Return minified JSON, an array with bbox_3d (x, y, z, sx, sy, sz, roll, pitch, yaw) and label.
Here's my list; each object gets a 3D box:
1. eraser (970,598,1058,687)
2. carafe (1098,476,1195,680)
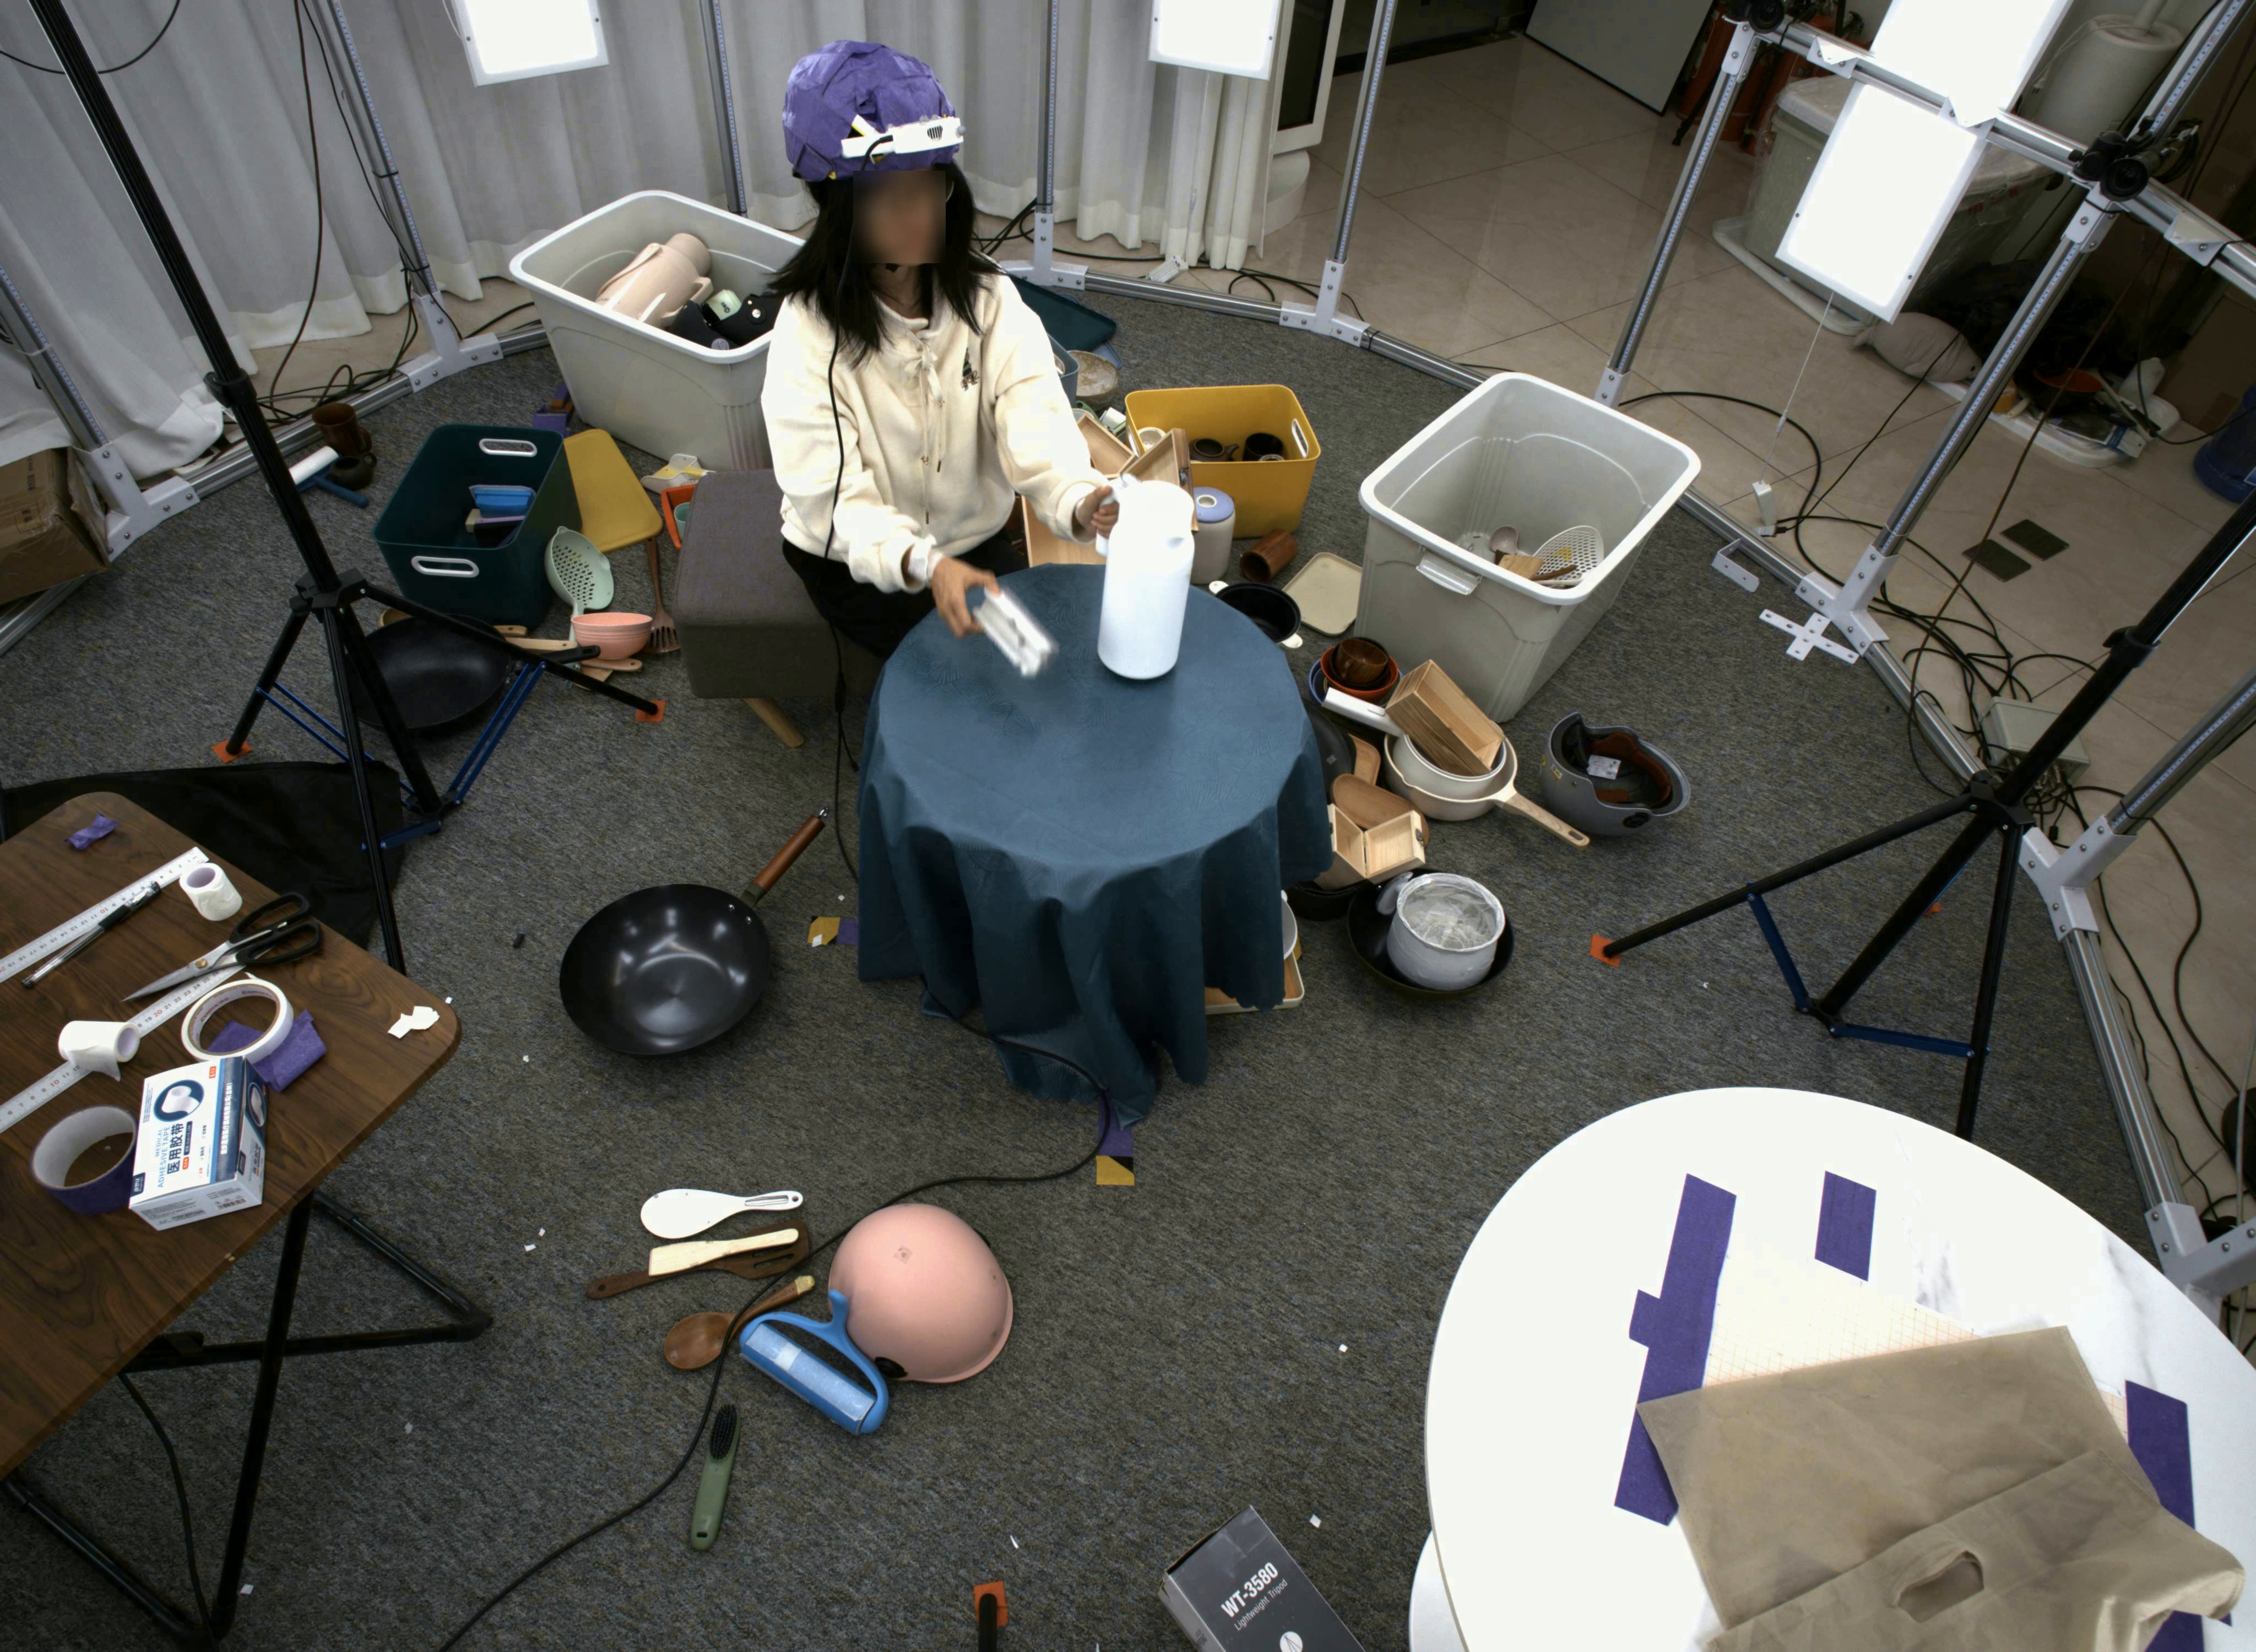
[{"bbox_3d":[-0.157,-0.254,1.779,0.046,0.049,0.136,-6,47,-52],"label":"eraser"},{"bbox_3d":[0.015,-0.346,1.790,0.124,0.262,0.176,-26,56,-24],"label":"carafe"}]
